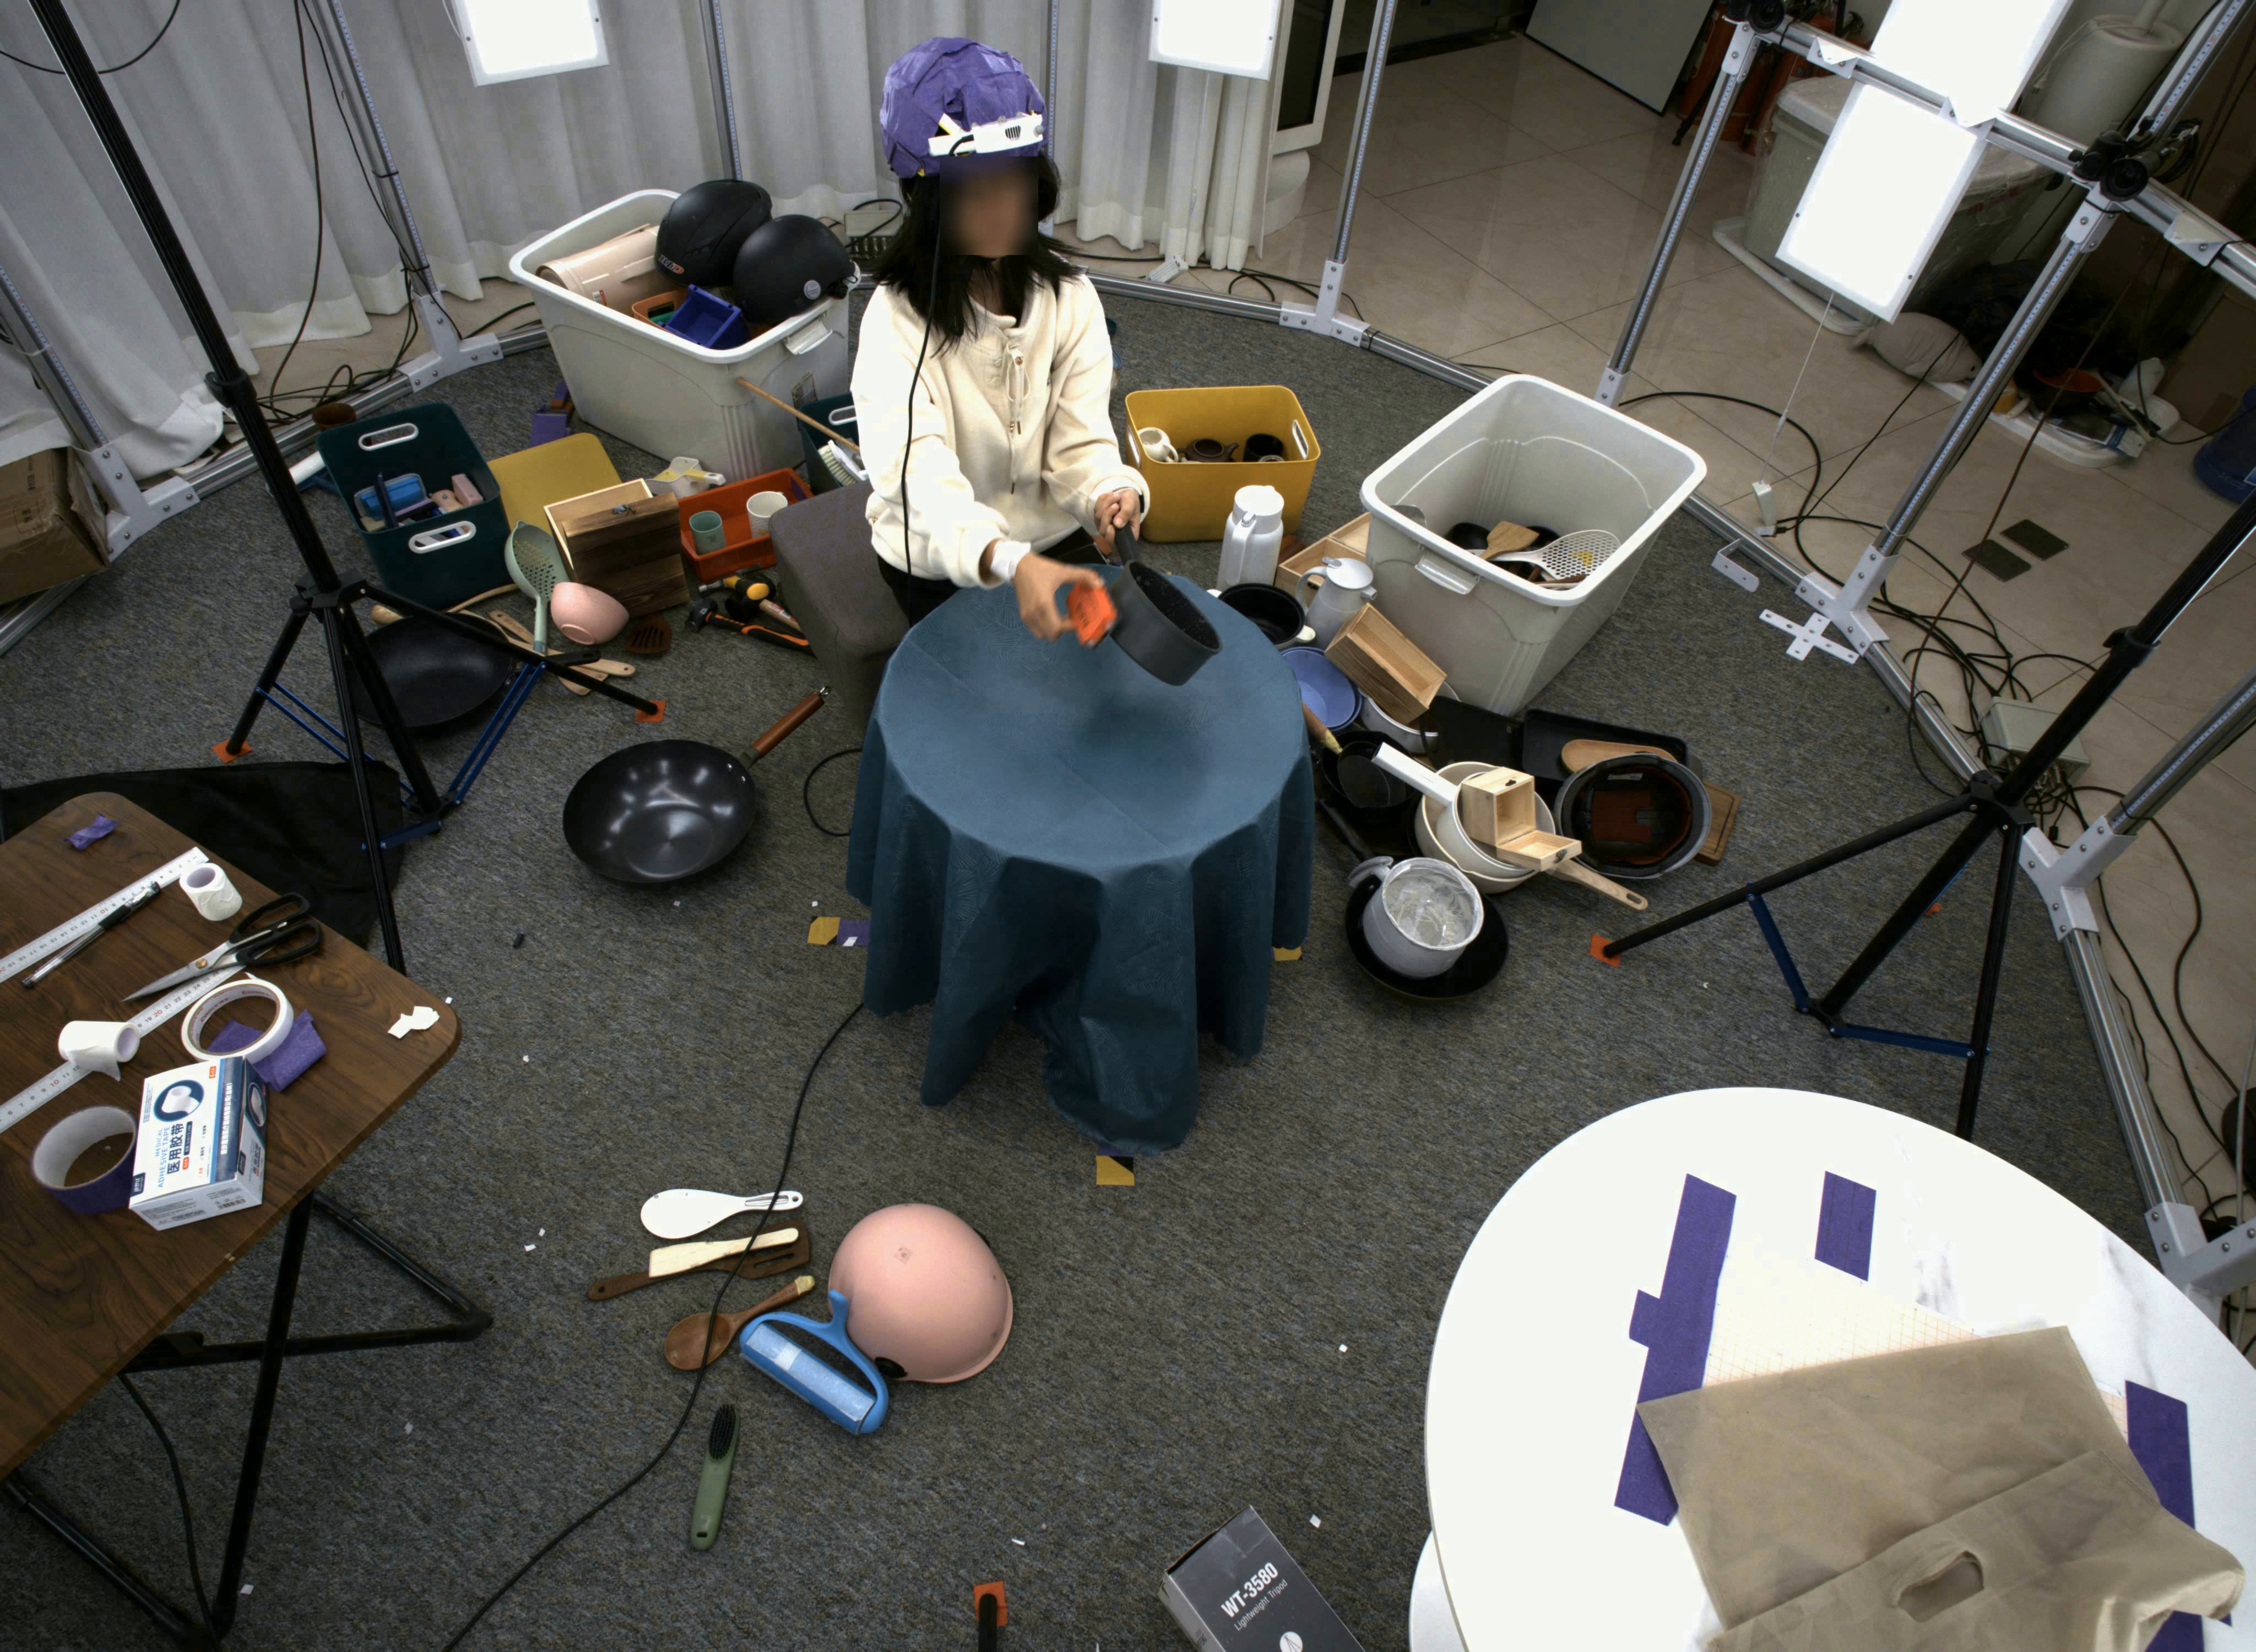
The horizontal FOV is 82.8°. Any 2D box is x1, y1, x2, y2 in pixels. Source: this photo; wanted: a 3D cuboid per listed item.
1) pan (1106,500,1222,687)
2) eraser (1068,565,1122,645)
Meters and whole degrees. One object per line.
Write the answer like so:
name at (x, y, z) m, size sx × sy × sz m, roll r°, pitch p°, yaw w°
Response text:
pan at (0.014, -0.326, 1.773) m, size 0.169 × 0.085 × 0.337 m, roll 25°, pitch 30°, yaw -41°
eraser at (-0.043, -0.289, 1.674) m, size 0.022 × 0.058 × 0.111 m, roll 20°, pitch 32°, yaw -34°
